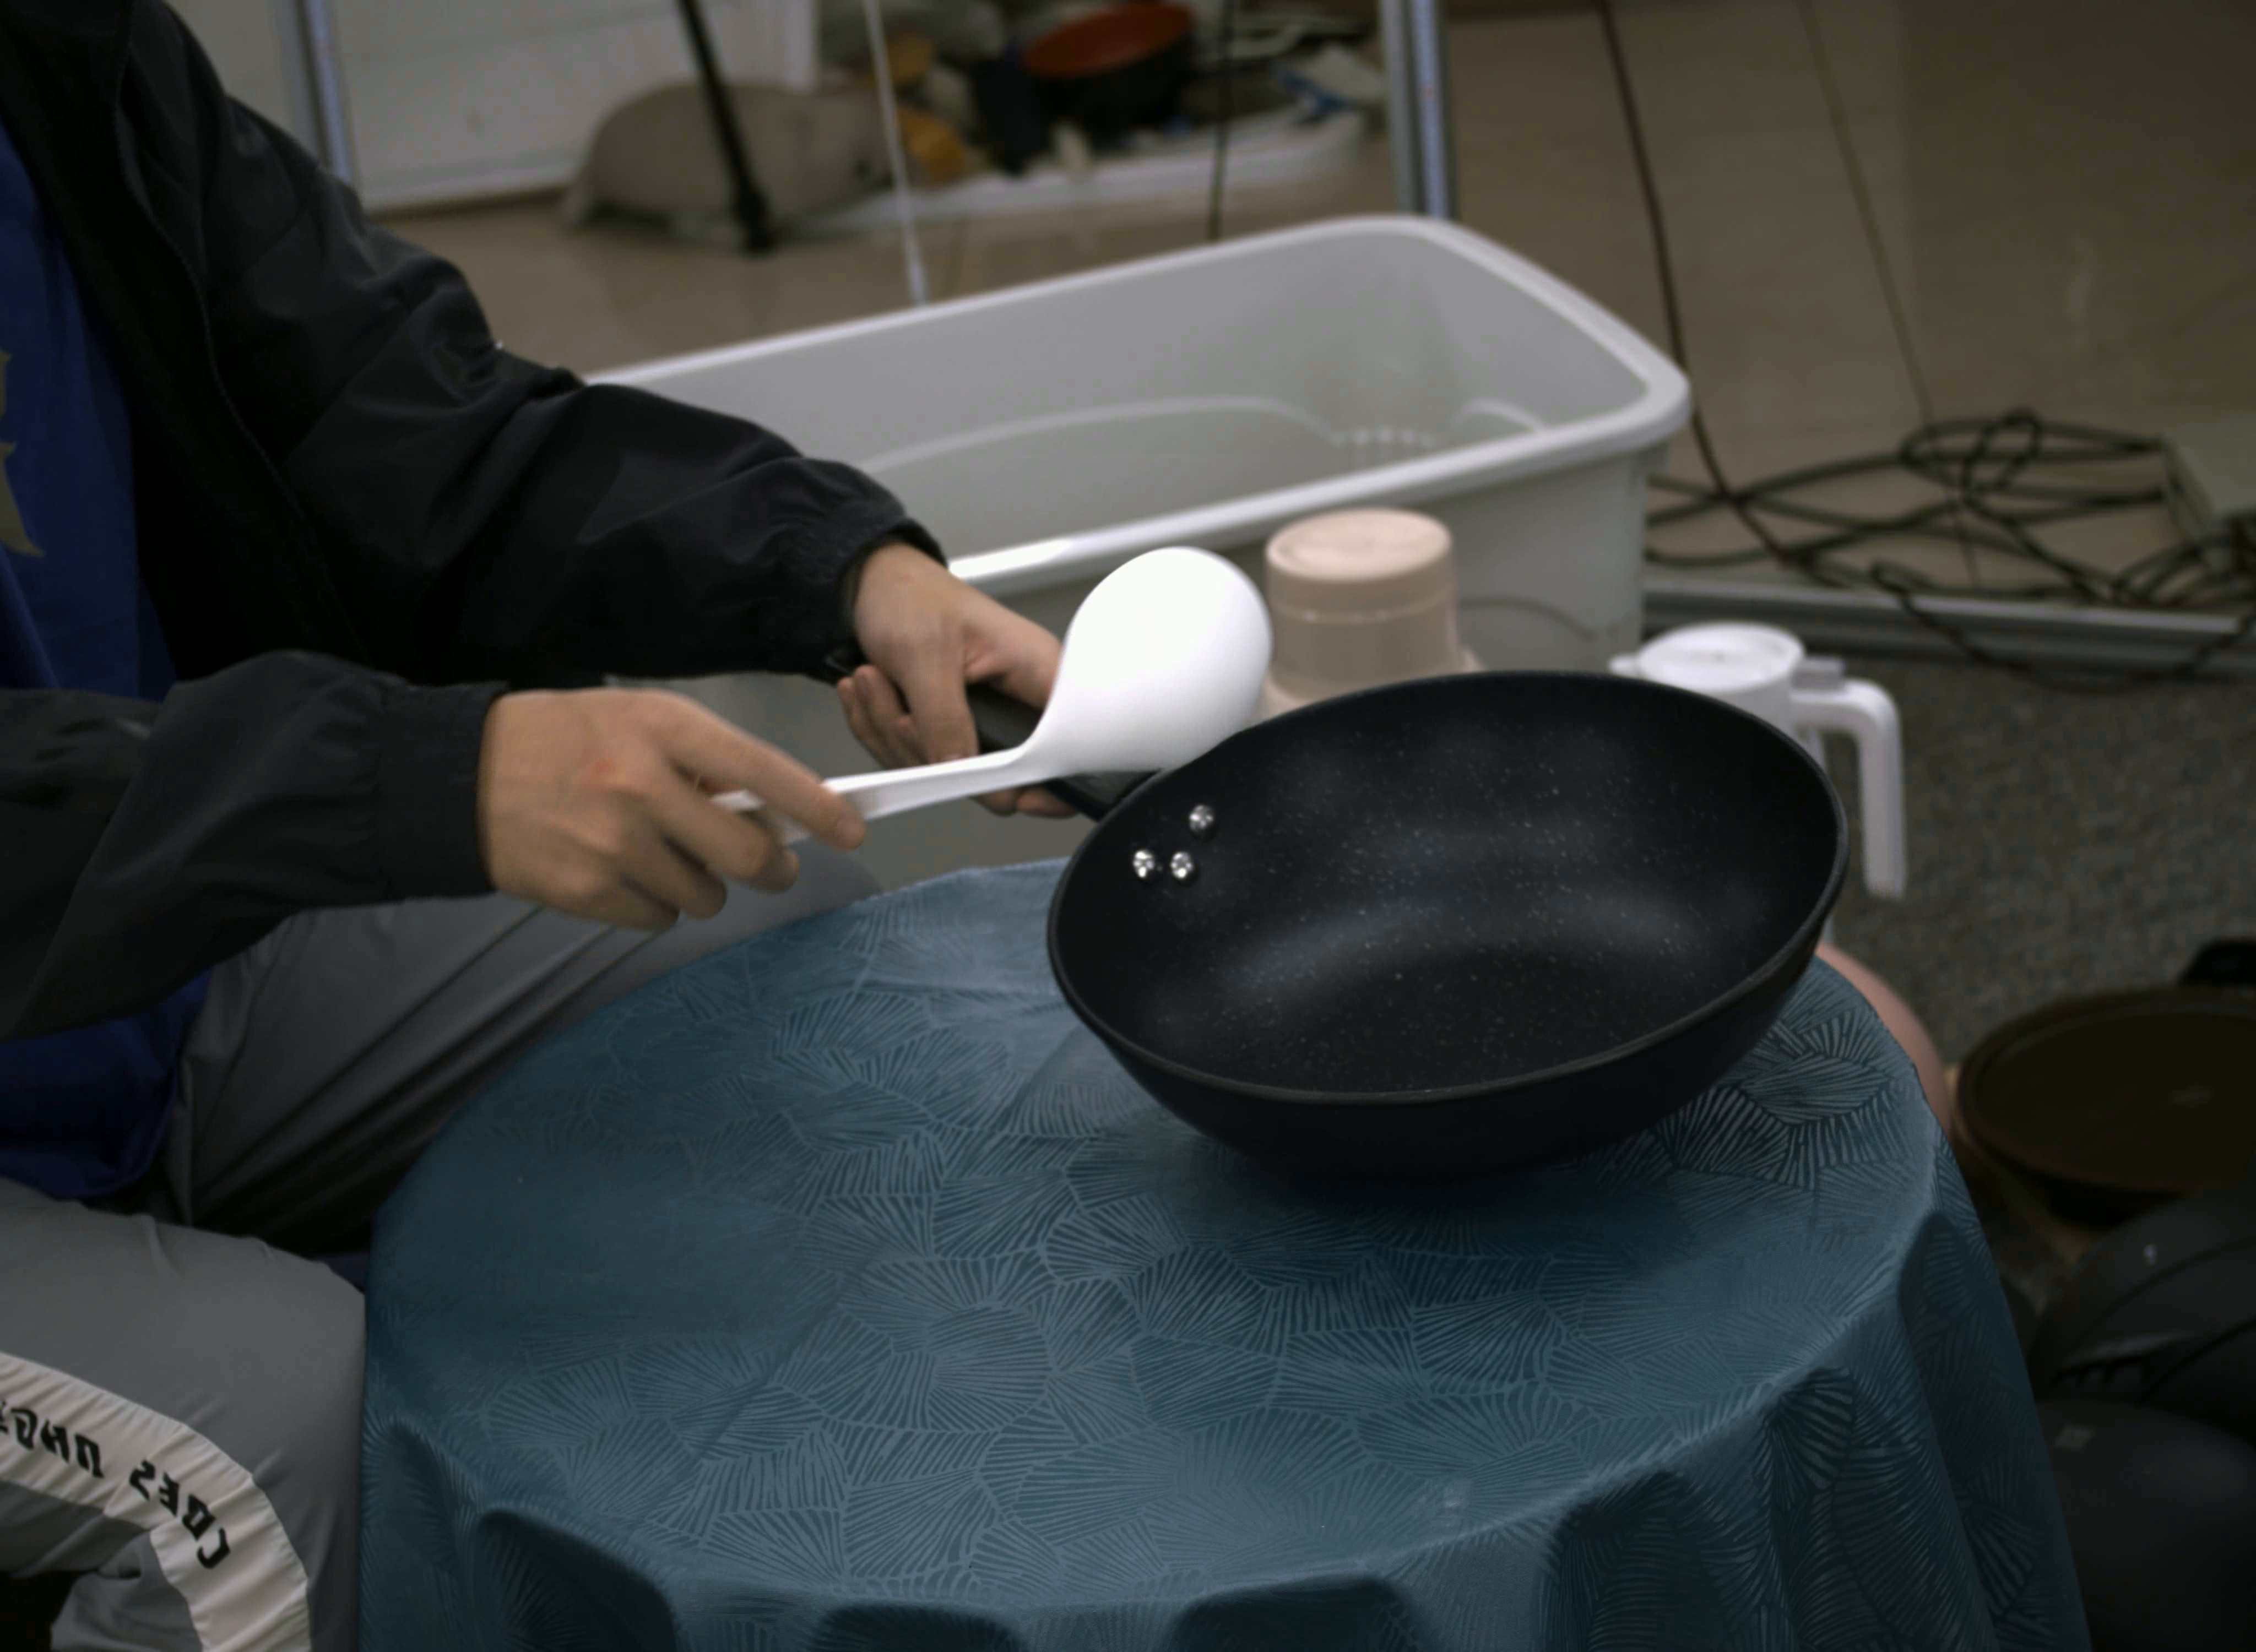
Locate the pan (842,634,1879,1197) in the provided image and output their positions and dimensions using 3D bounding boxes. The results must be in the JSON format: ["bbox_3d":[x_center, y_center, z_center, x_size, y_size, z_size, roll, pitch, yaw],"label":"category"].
[{"bbox_3d":[0.071,0.028,2.222,0.473,0.113,0.307,18,39,38],"label":"pan"}]

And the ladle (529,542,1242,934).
[{"bbox_3d":[-0.093,-0.028,2.051,0.294,0.091,0.069,-17,57,29],"label":"ladle"}]
